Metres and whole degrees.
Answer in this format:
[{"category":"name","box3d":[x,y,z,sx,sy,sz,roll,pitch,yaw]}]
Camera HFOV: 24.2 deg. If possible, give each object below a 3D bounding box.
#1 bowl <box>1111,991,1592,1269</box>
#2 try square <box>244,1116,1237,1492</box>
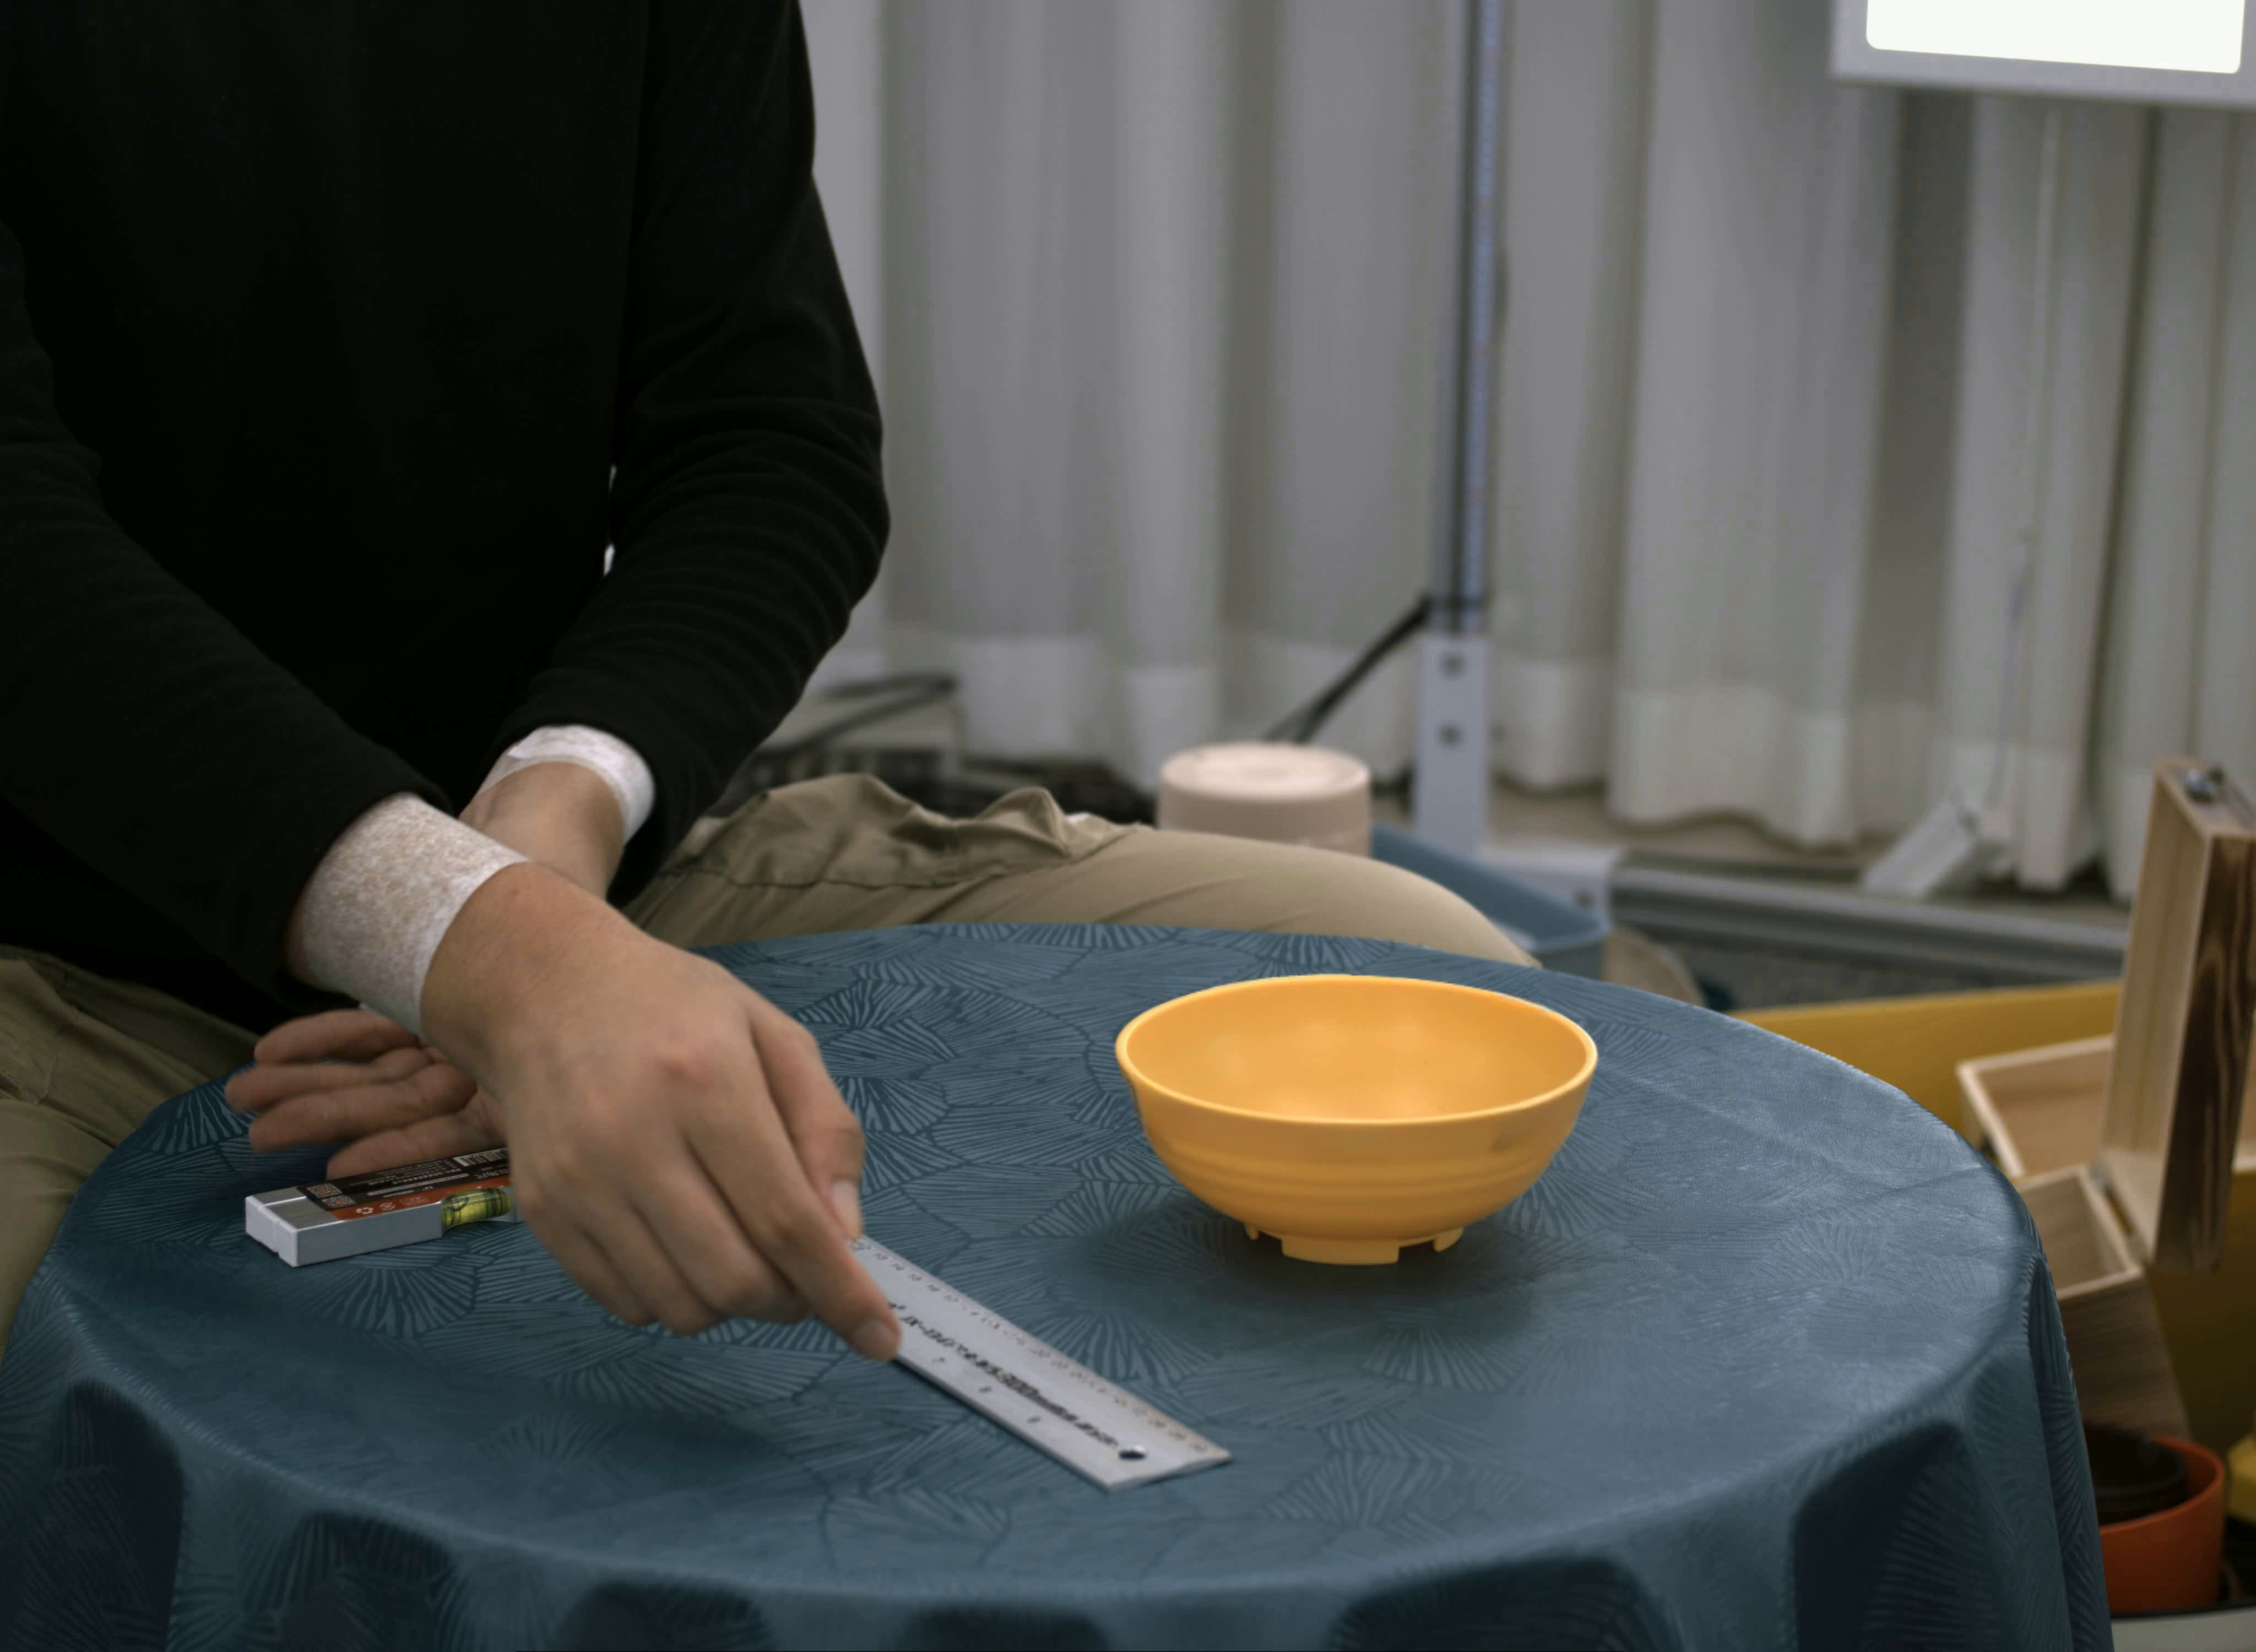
[{"category":"bowl","box3d":[0.066,0.095,1.581,0.145,0.060,0.144,1,13,0]},{"category":"try square","box3d":[-0.118,0.144,1.494,0.153,0.016,0.309,-12,20,-31]}]
